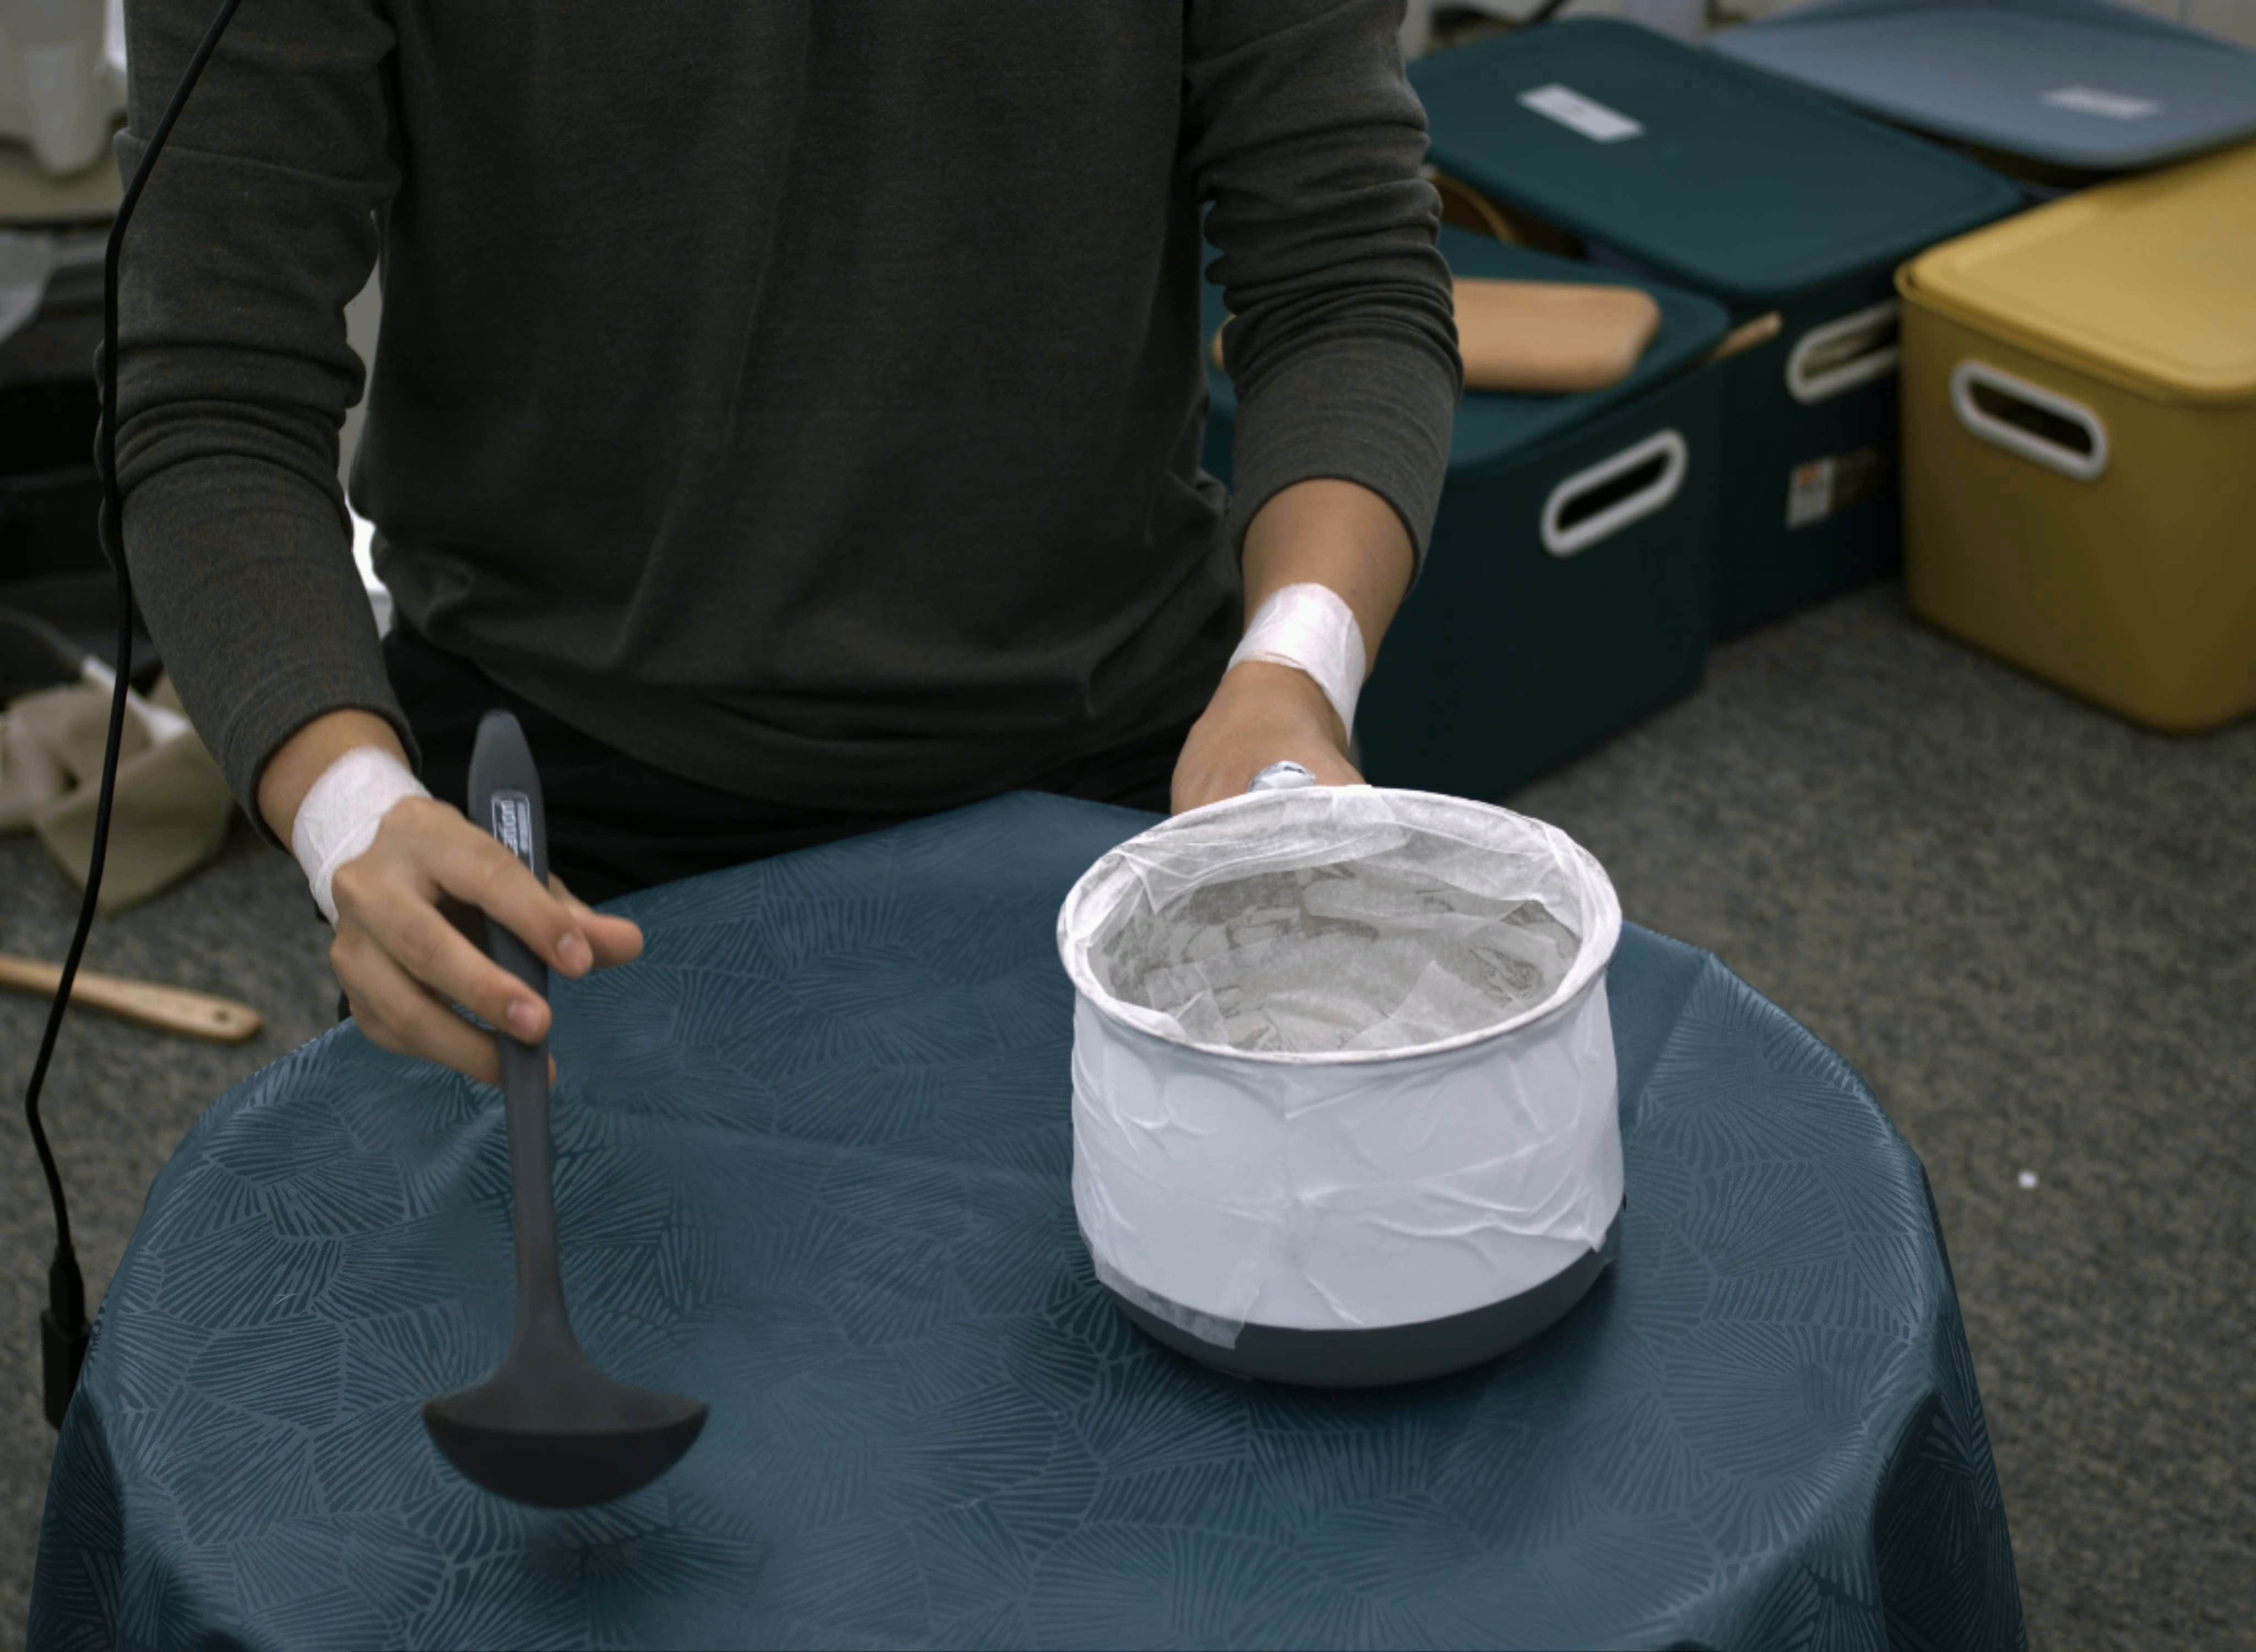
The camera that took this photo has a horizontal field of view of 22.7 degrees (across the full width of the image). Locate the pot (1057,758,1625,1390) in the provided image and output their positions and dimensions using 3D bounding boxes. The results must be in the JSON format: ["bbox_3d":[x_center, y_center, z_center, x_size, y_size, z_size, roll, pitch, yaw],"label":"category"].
[{"bbox_3d":[0.064,0.072,1.805,0.178,0.135,0.236,-6,27,-7],"label":"pot"}]

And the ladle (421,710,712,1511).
[{"bbox_3d":[-0.184,0.074,1.738,0.086,0.063,0.320,4,50,-17],"label":"ladle"}]
